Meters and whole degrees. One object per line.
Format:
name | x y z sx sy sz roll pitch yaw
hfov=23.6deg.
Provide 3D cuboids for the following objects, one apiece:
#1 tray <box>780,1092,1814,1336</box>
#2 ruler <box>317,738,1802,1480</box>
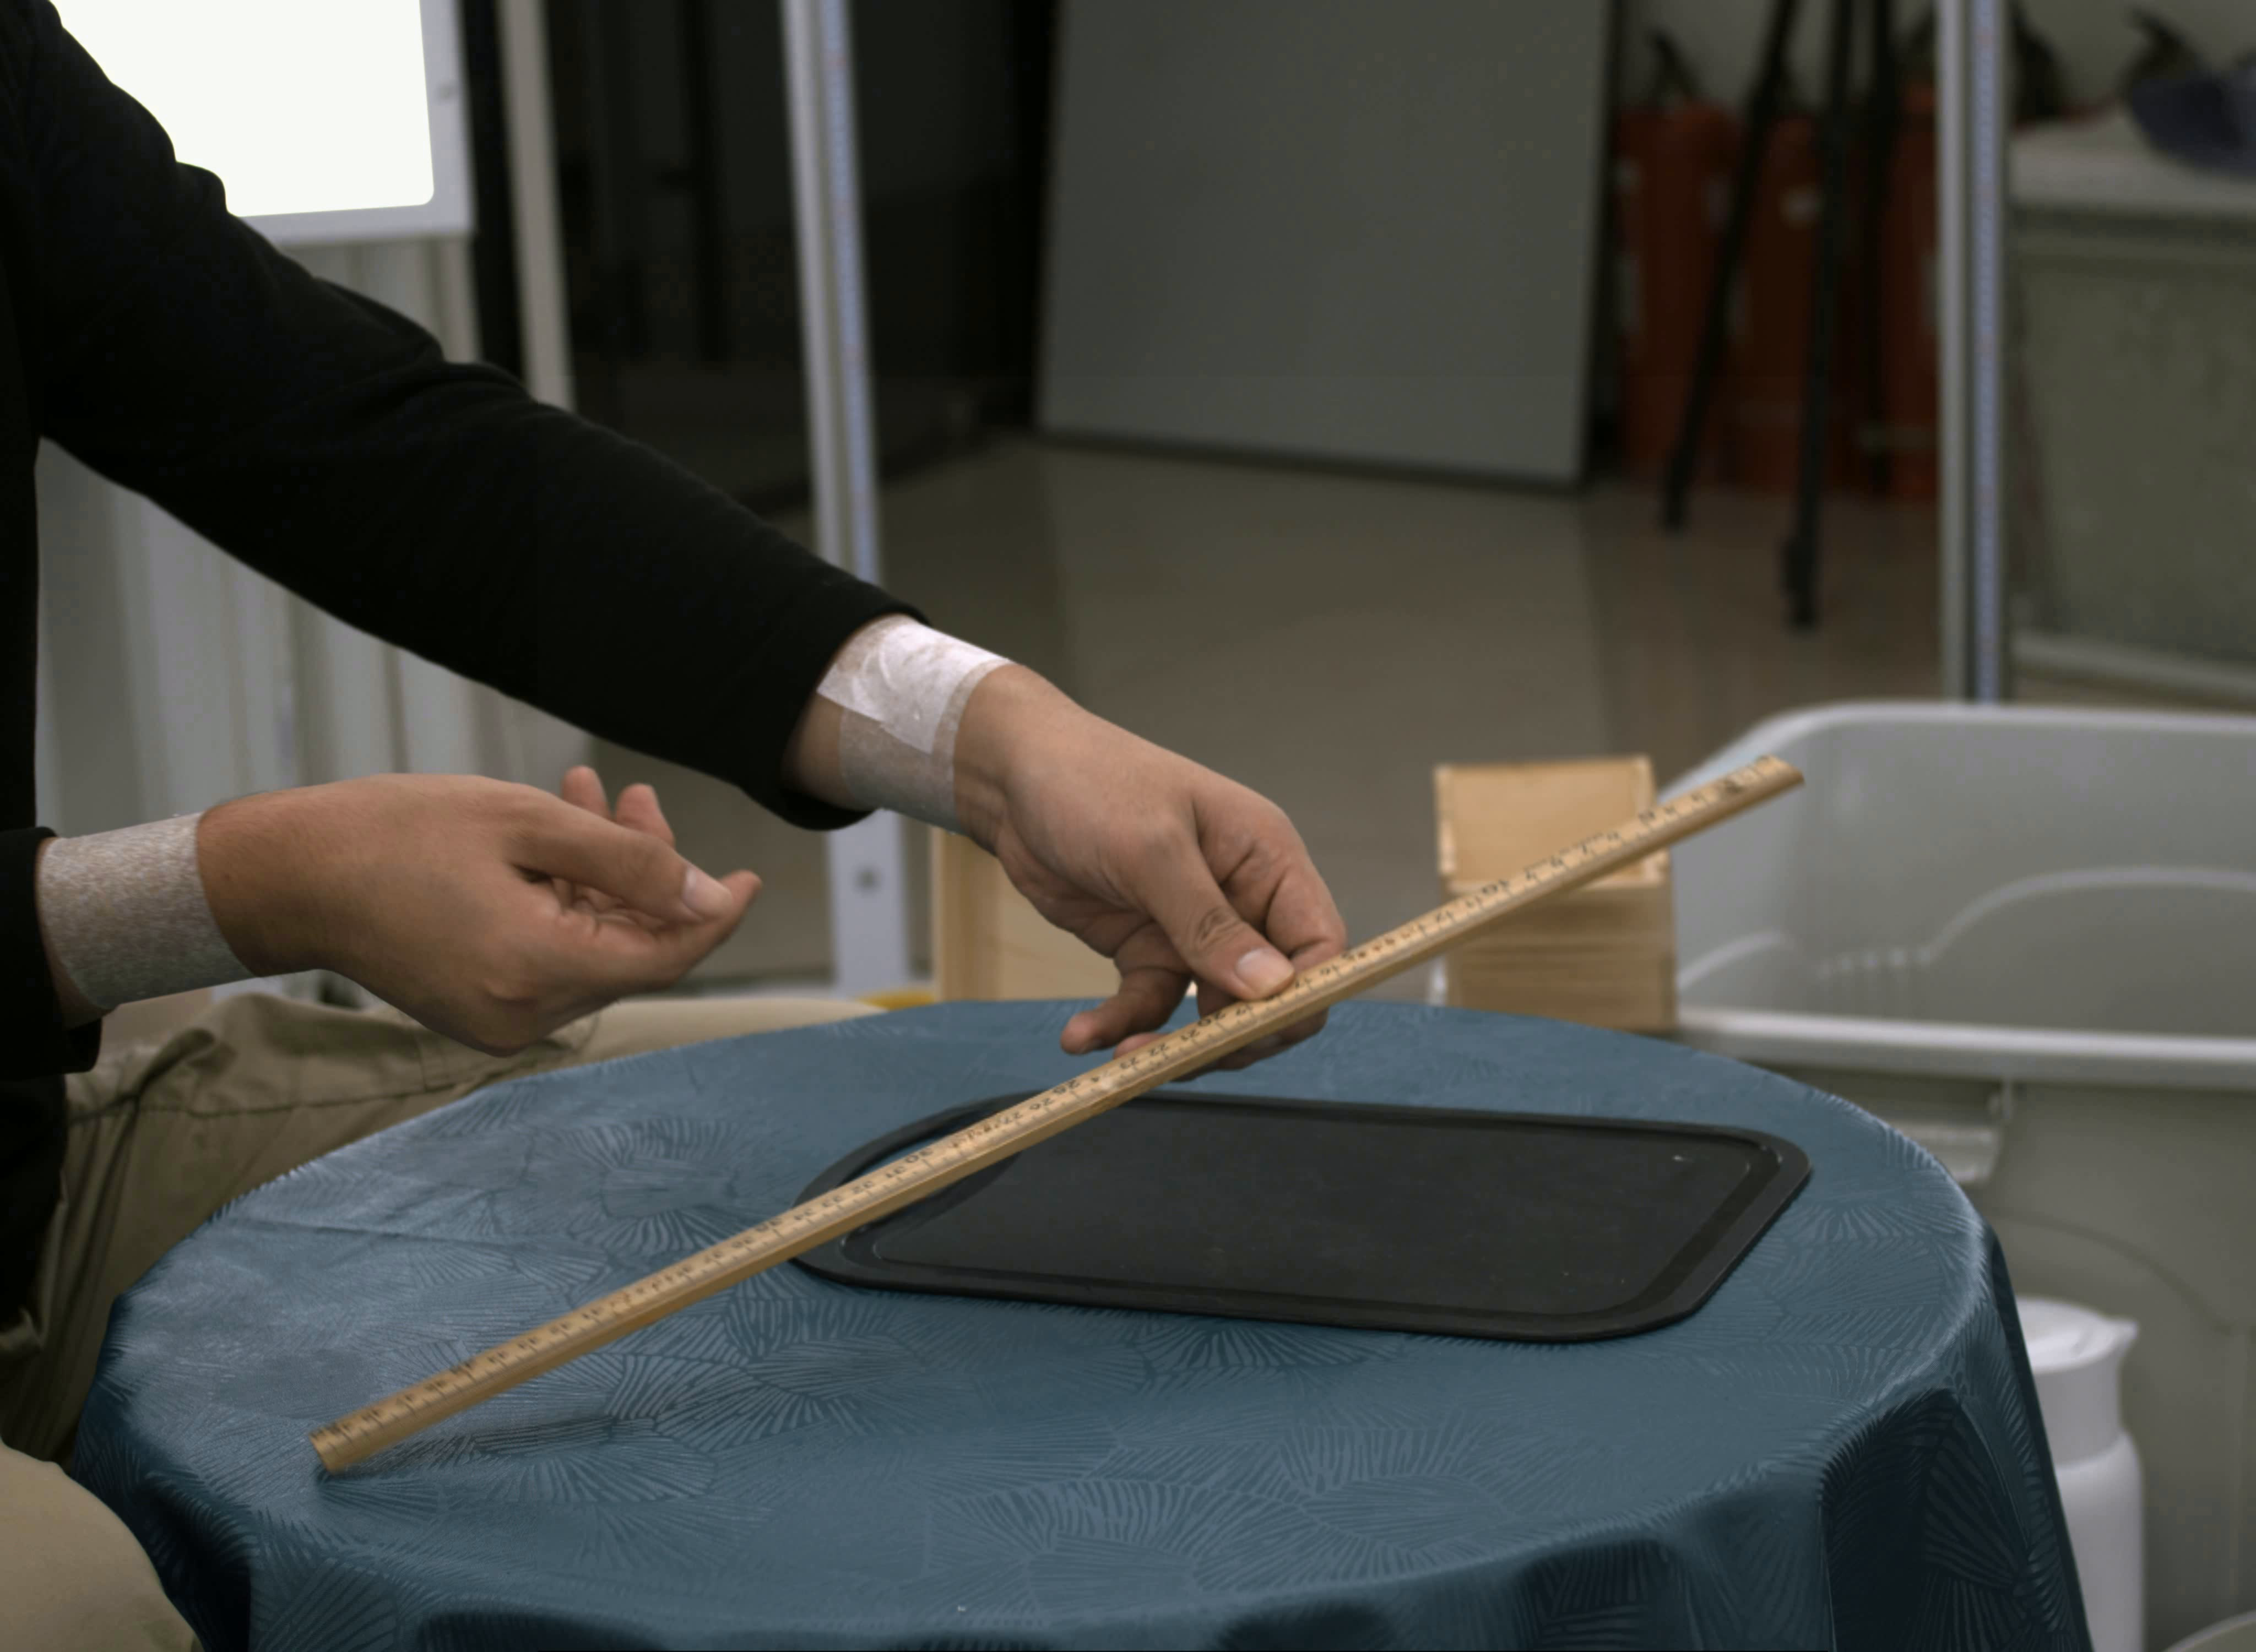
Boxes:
tray | 0.048 0.121 1.741 0.326 0.010 0.208 2 15 24
ruler | -0.015 0.080 1.617 0.494 0.006 0.027 -26 17 -11
